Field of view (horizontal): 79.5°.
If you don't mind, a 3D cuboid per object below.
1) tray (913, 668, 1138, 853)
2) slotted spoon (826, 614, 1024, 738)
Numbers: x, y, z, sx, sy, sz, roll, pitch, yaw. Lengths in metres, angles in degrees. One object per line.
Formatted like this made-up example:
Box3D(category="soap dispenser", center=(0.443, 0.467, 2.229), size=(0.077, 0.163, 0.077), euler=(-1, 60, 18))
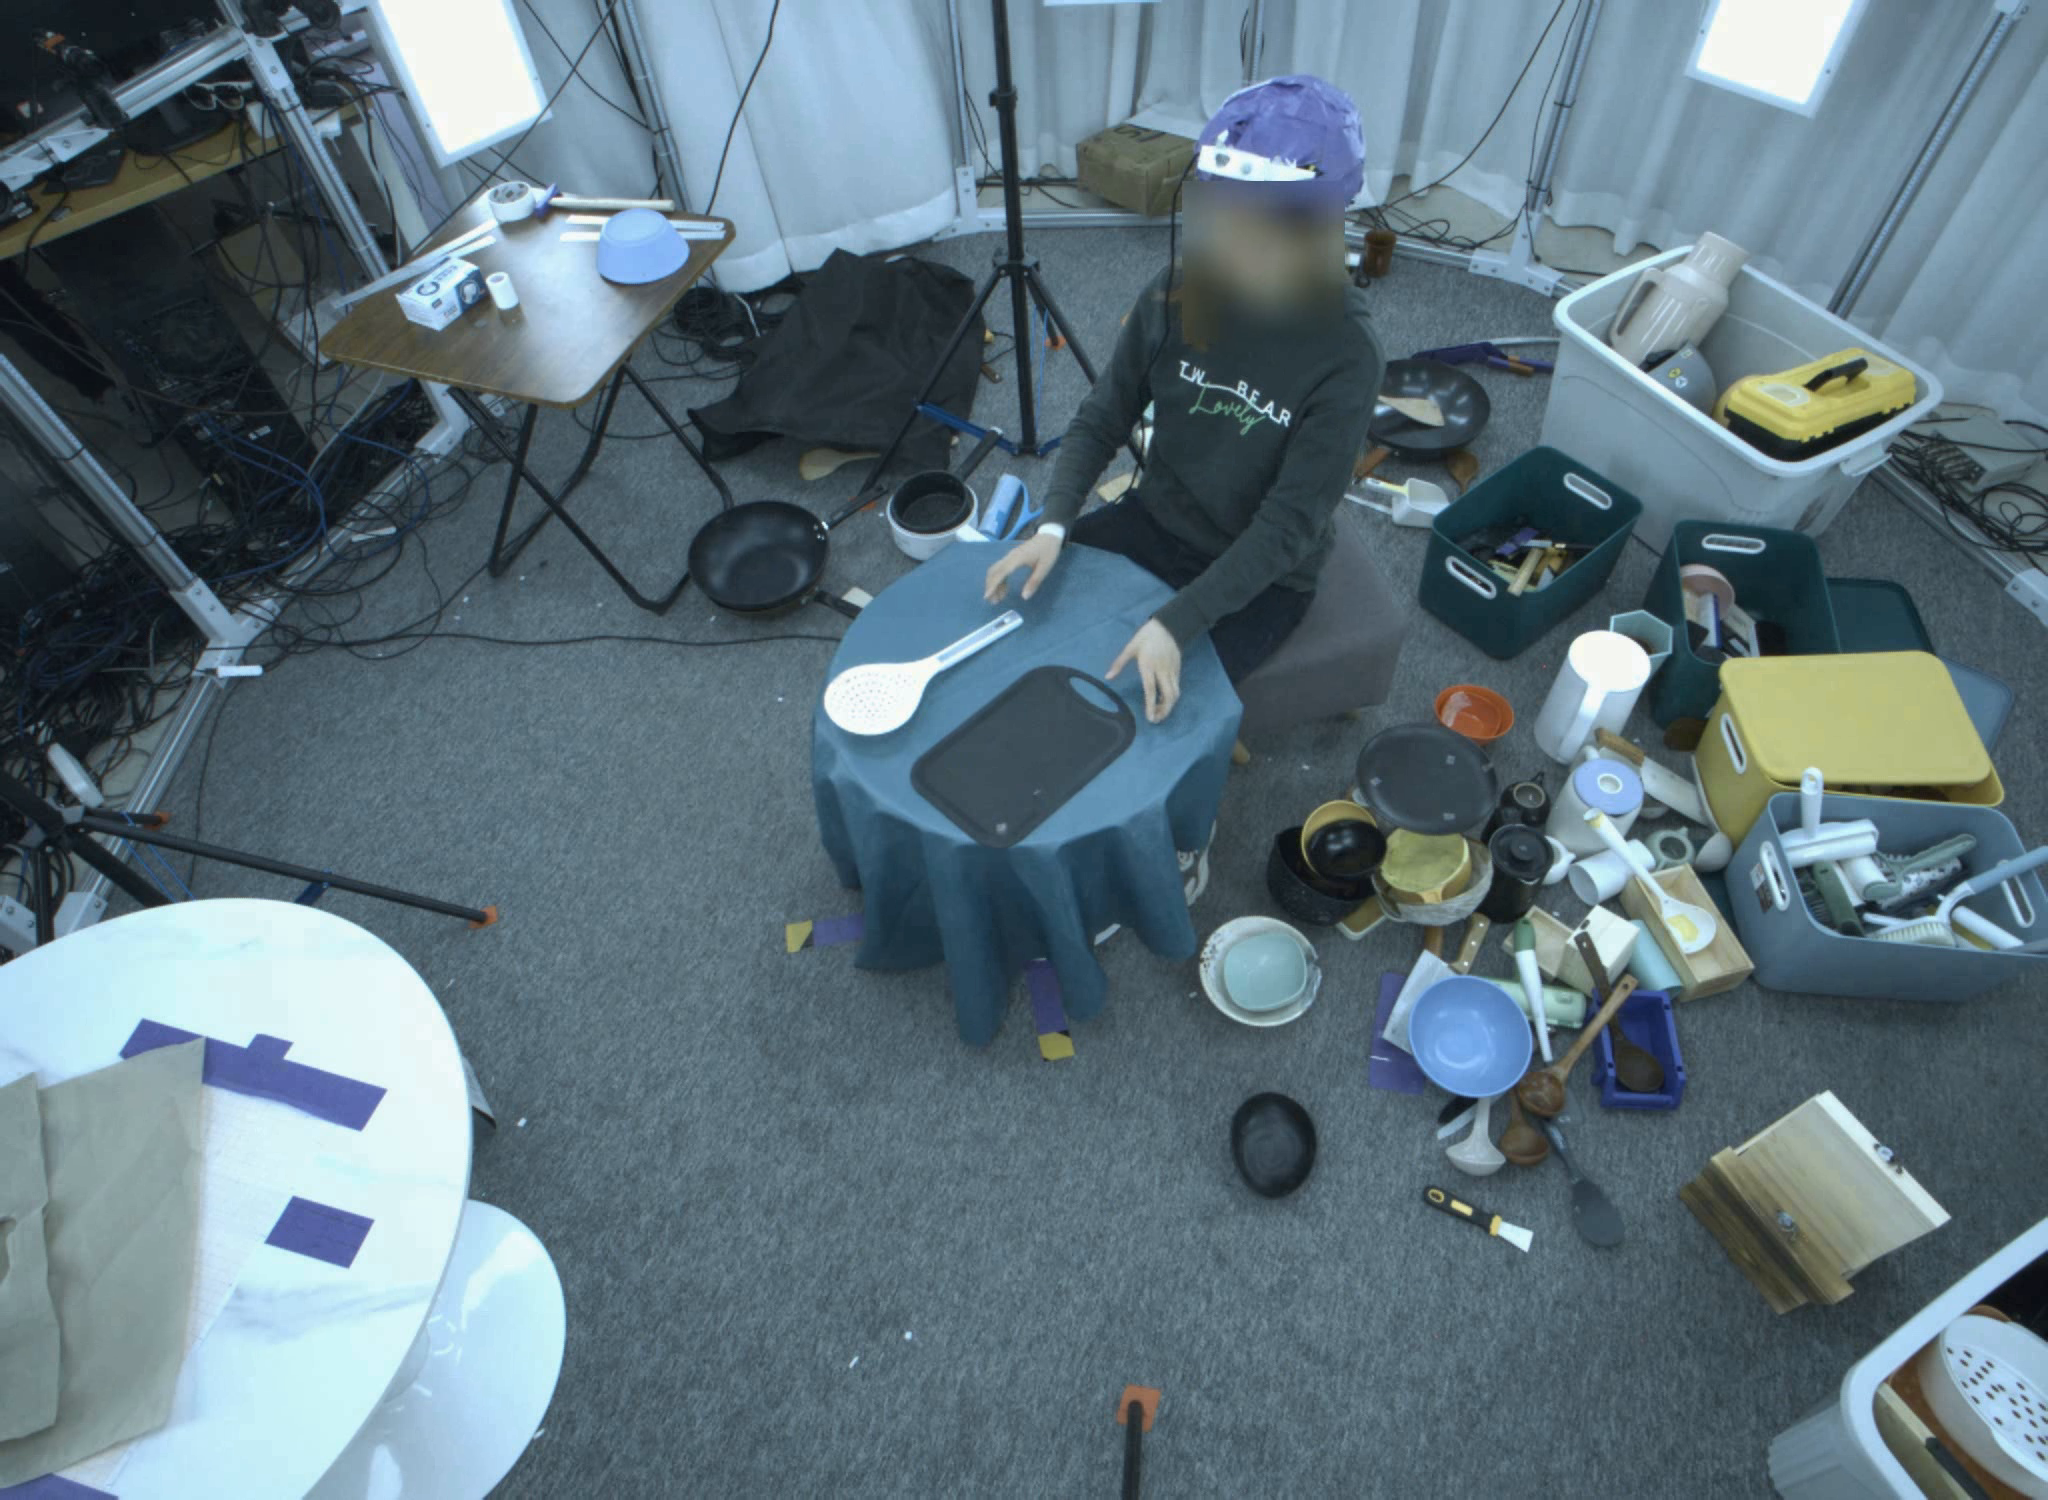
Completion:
Box3D(category="tray", center=(0.008, 0.002, 1.792), size=(0.328, 0.010, 0.207), euler=(-40, 63, -23))
Box3D(category="slotted spoon", center=(-0.141, -0.121, 1.859), size=(0.352, 0.046, 0.133), euler=(-35, 63, -22))
